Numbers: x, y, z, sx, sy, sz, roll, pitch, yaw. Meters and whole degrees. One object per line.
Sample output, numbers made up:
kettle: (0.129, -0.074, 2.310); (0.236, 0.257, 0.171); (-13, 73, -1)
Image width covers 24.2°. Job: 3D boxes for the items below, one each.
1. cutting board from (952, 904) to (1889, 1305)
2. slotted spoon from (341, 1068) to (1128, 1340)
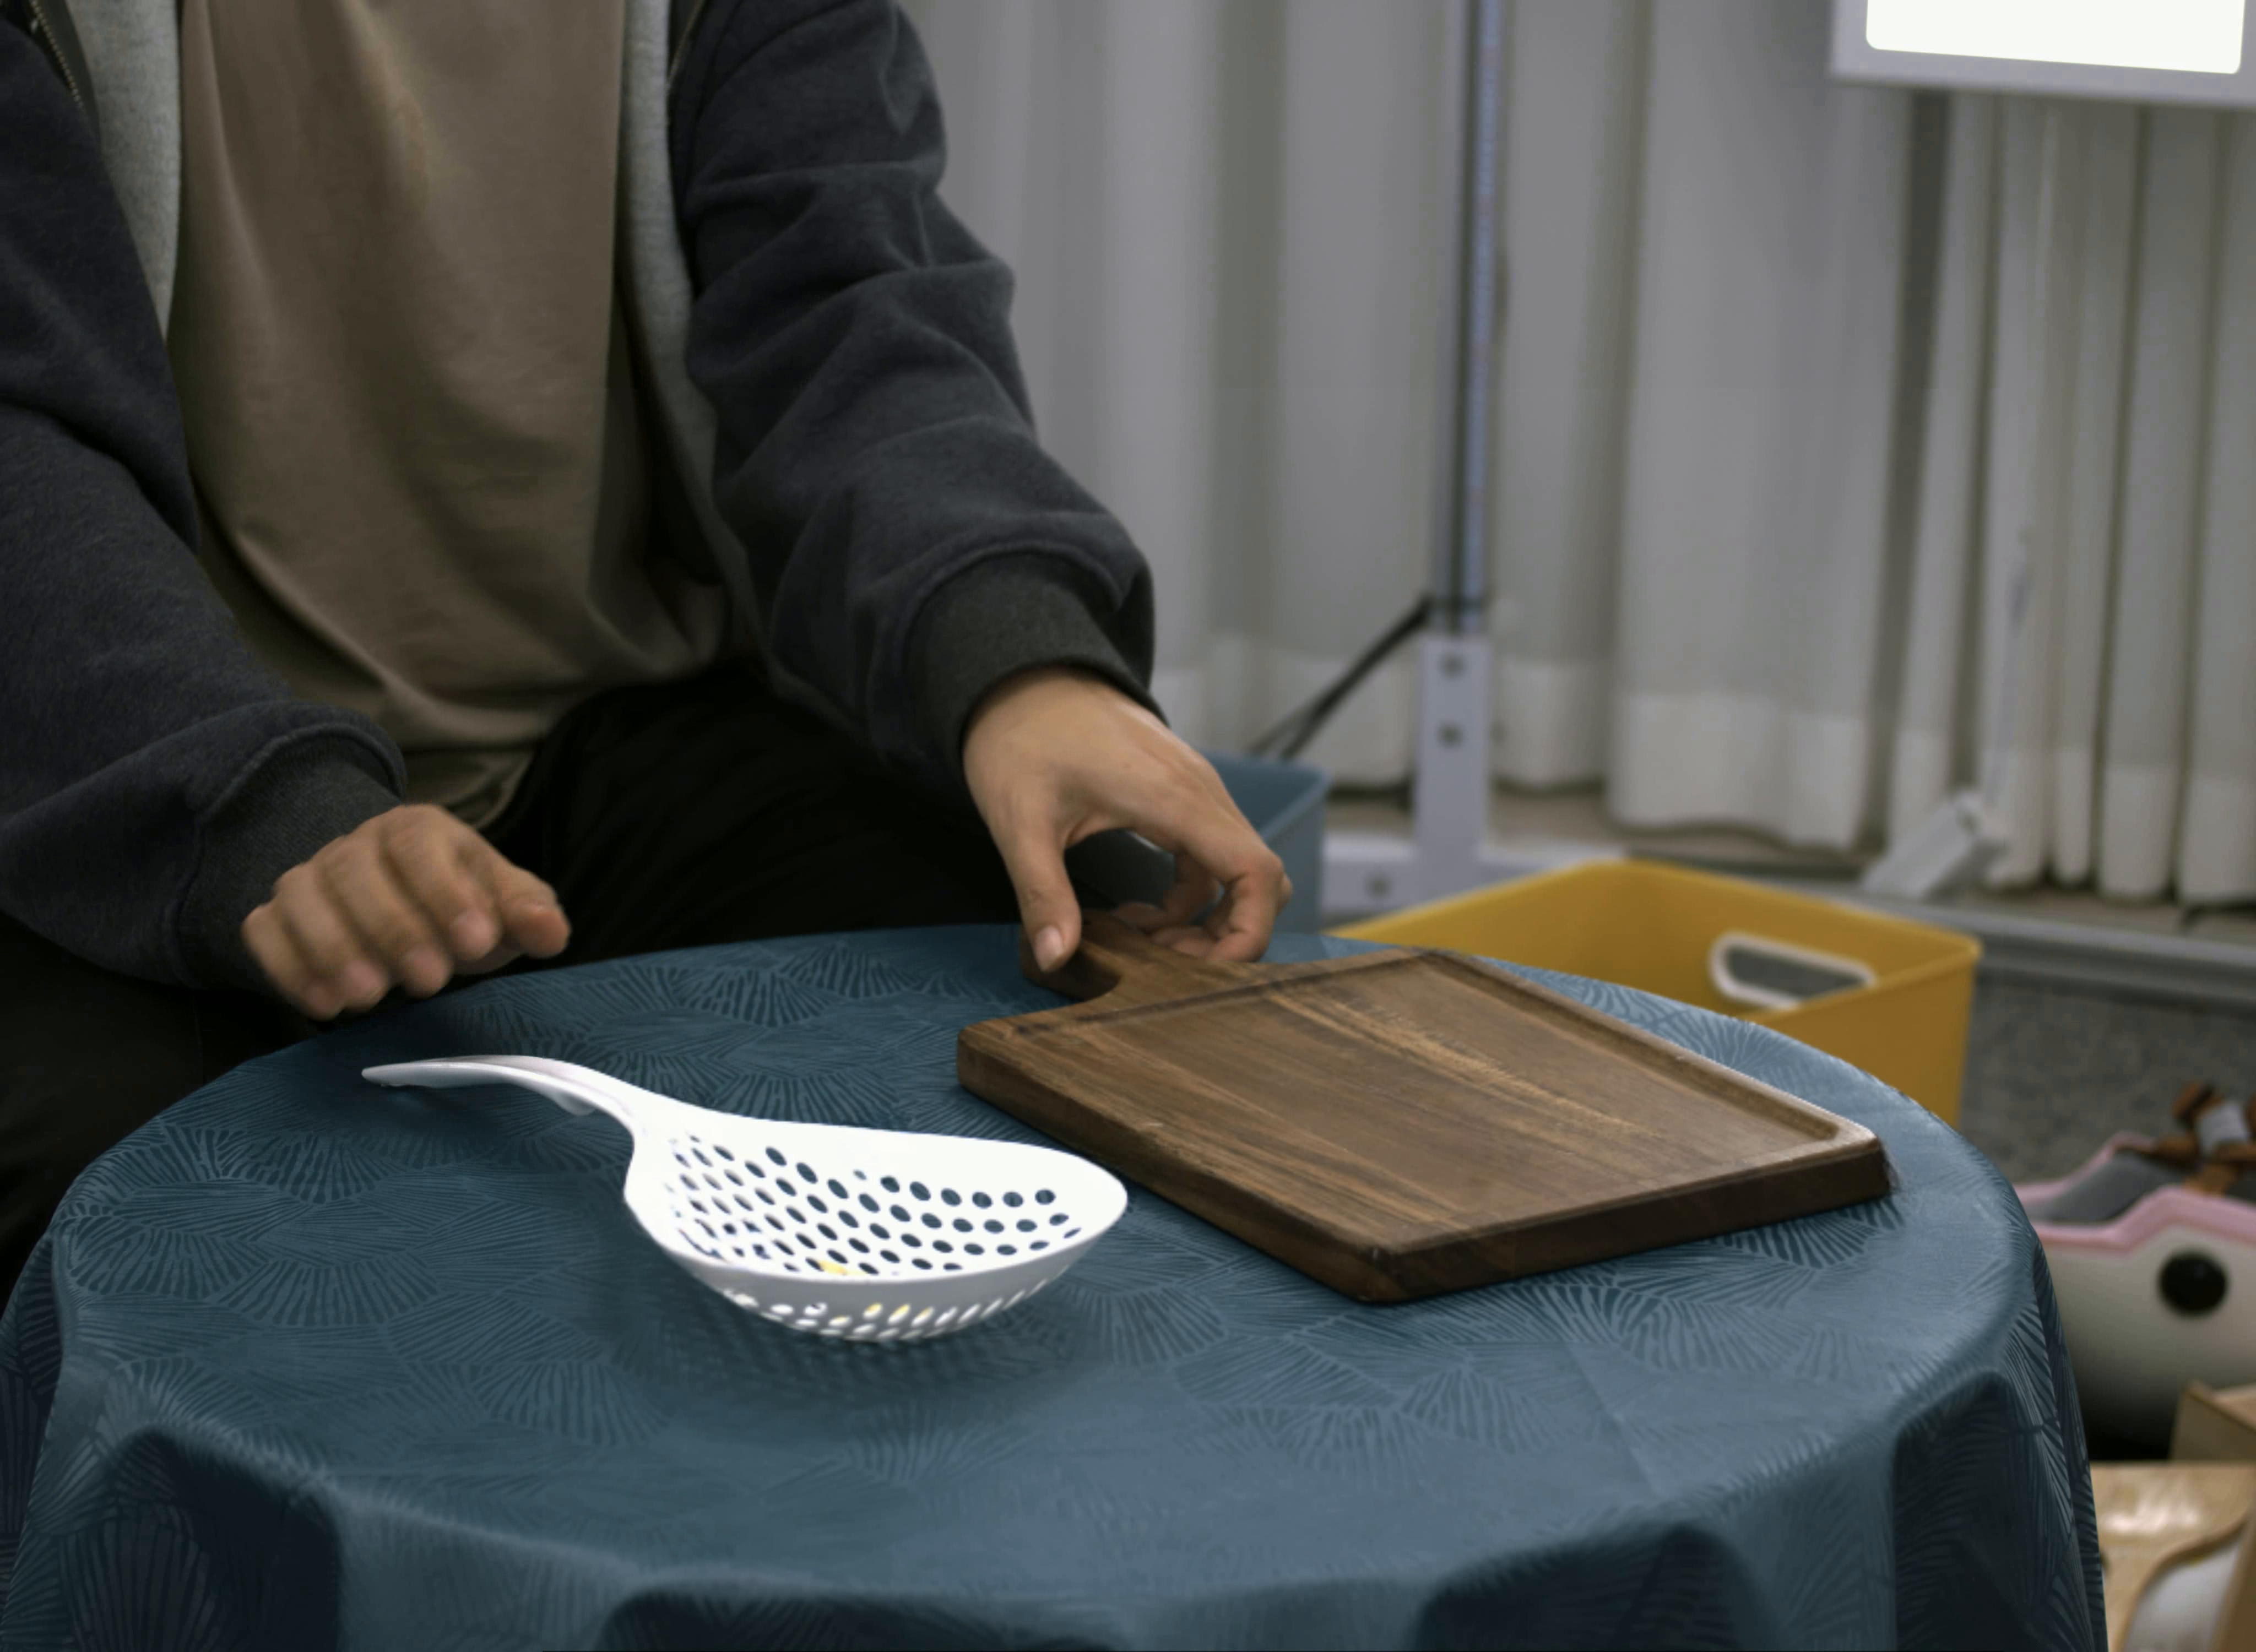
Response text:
cutting board: (0.063, 0.078, 1.710); (0.202, 0.023, 0.347); (-8, 18, -31)
slotted spoon: (-0.137, 0.100, 1.584); (0.137, 0.051, 0.343); (-14, 22, -37)
